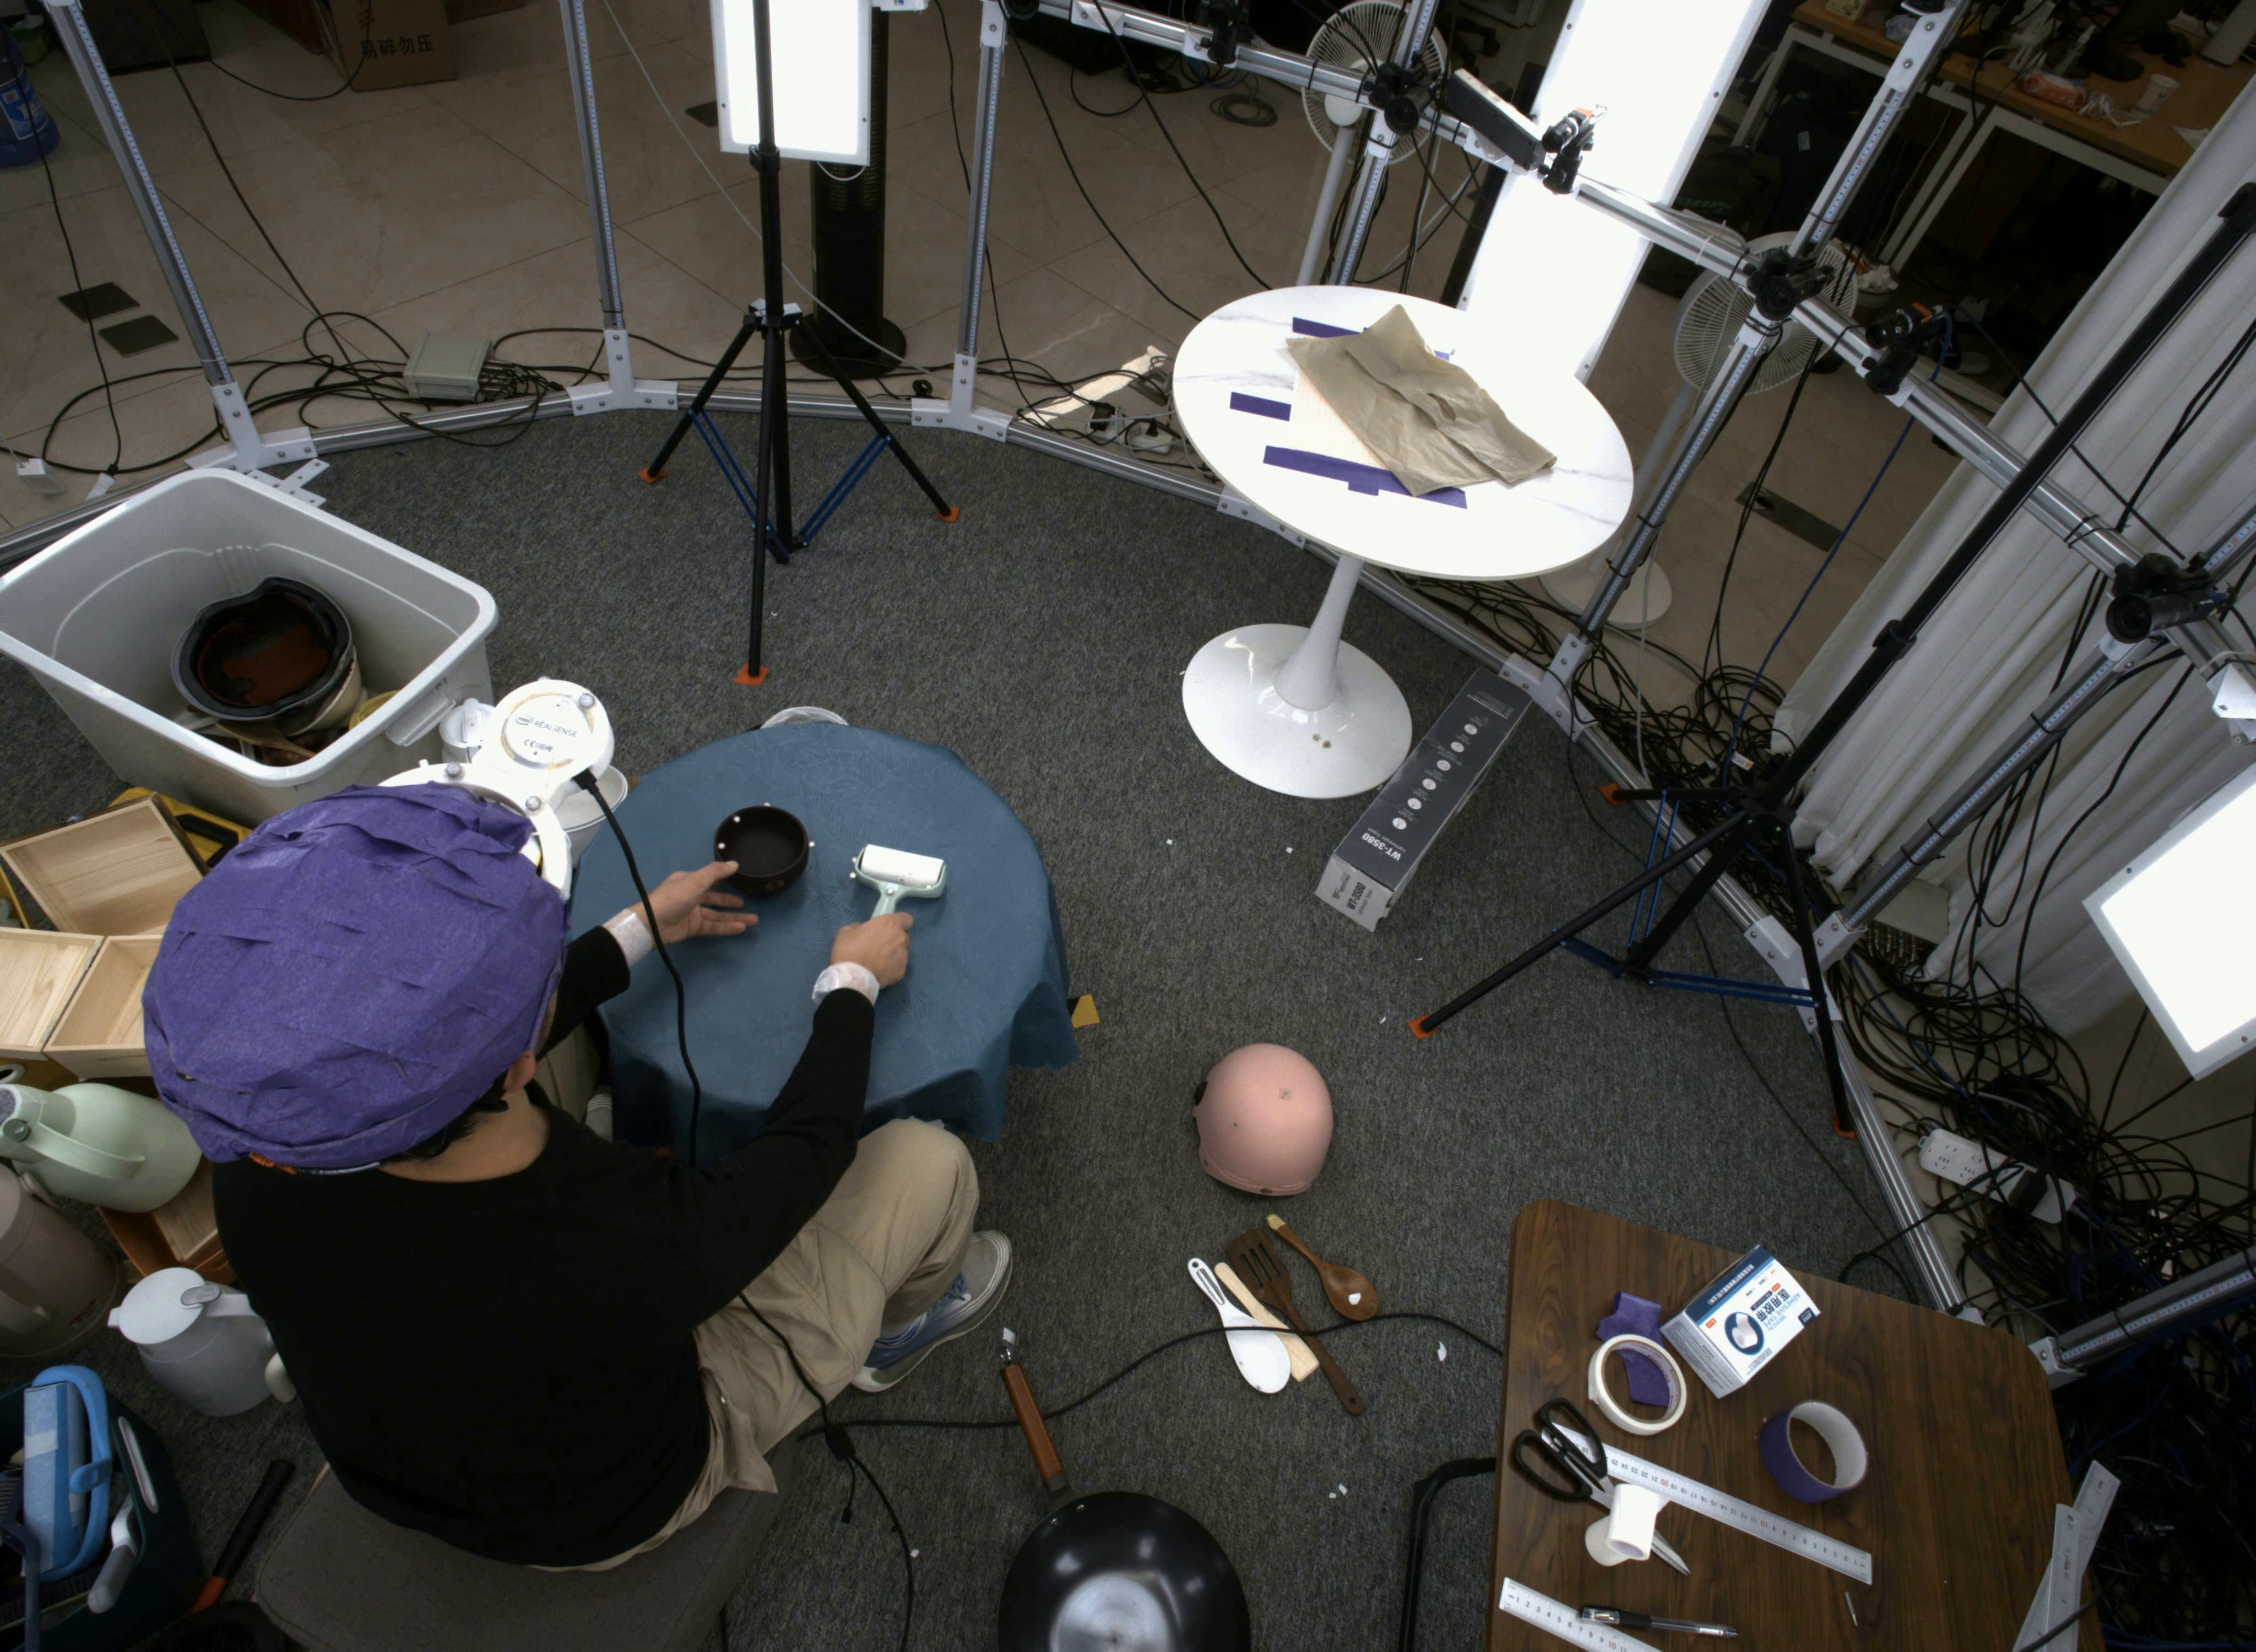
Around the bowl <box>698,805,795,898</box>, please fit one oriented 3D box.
[{"bbox_3d":[-0.479,0.039,1.629,0.118,0.071,0.116,8,53,-9],"label":"bowl"}]

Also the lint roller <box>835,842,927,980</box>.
[{"bbox_3d":[-0.324,0.102,1.623,0.116,0.049,0.194,14,44,-5],"label":"lint roller"}]
